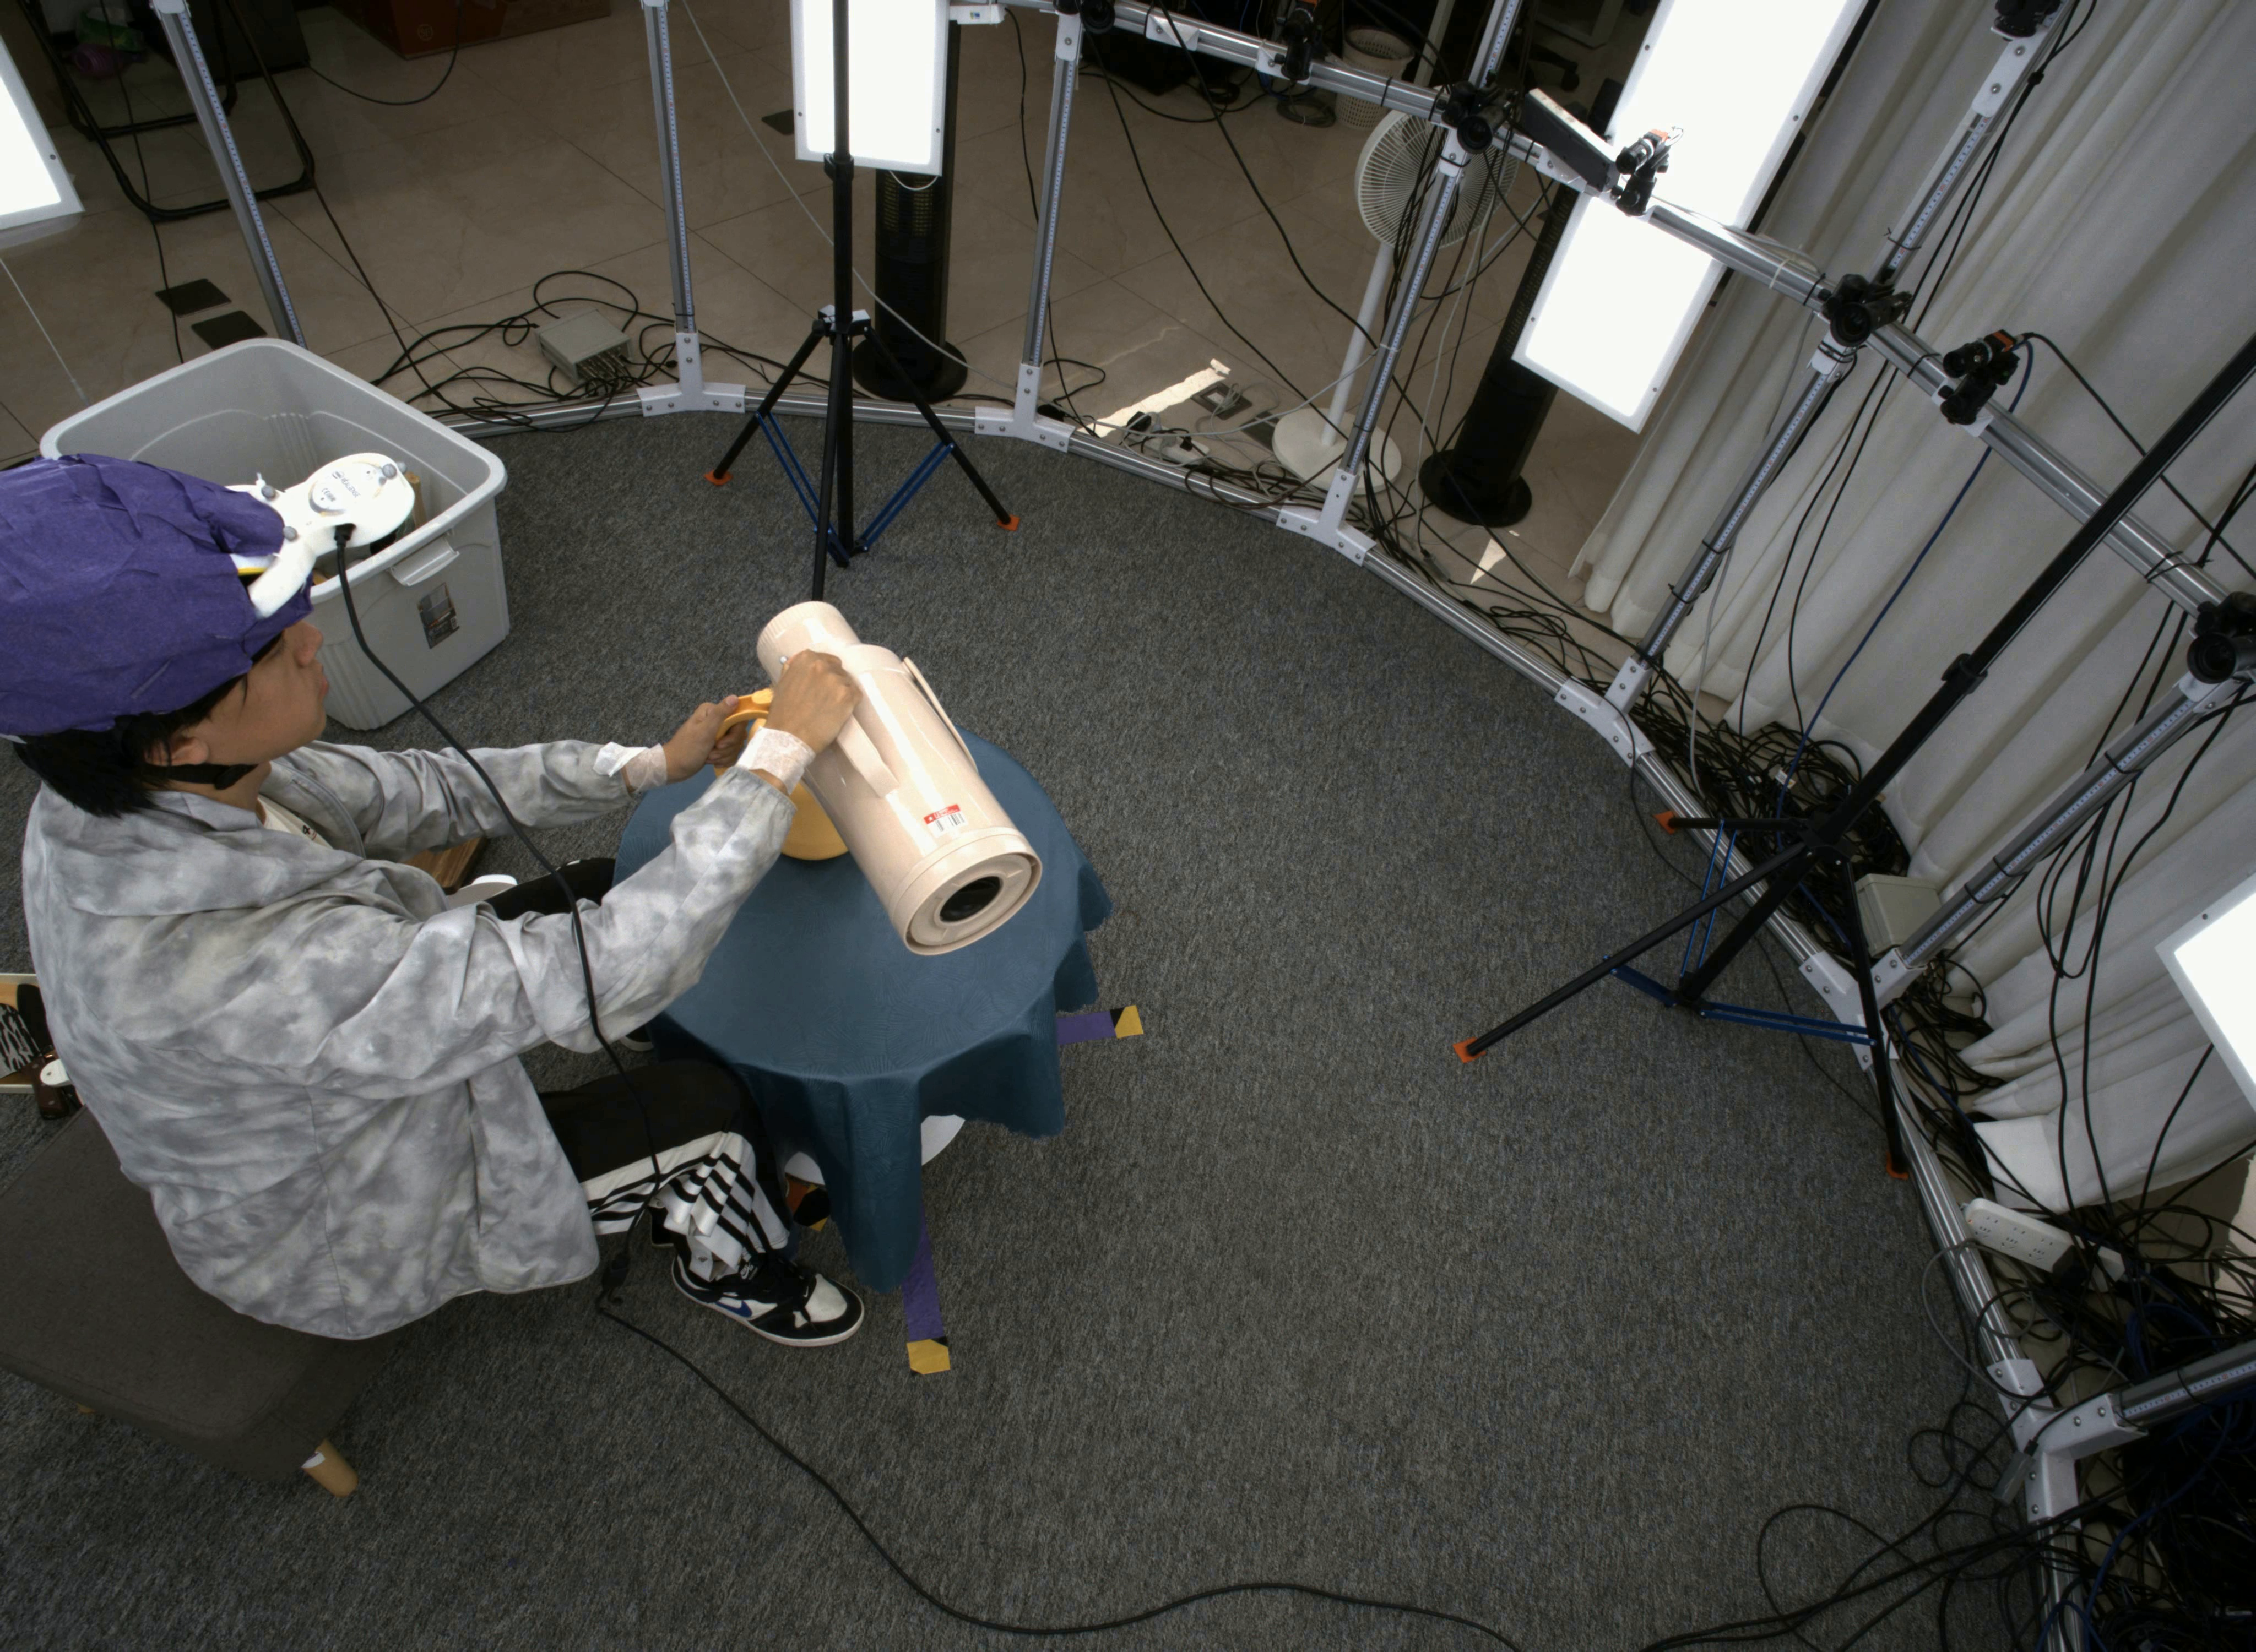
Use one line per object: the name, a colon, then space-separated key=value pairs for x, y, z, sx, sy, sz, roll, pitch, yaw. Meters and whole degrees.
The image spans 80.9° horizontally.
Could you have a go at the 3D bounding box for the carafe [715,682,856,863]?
carafe: x=-0.411 y=-0.085 z=1.624 sx=0.203 sy=0.266 sz=0.159 roll=-6 pitch=52 yaw=-17

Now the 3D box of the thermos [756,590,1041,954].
thermos: x=-0.262 y=-0.076 z=1.343 sx=0.174 sy=0.212 sz=0.397 roll=-35 pitch=67 yaw=-1
